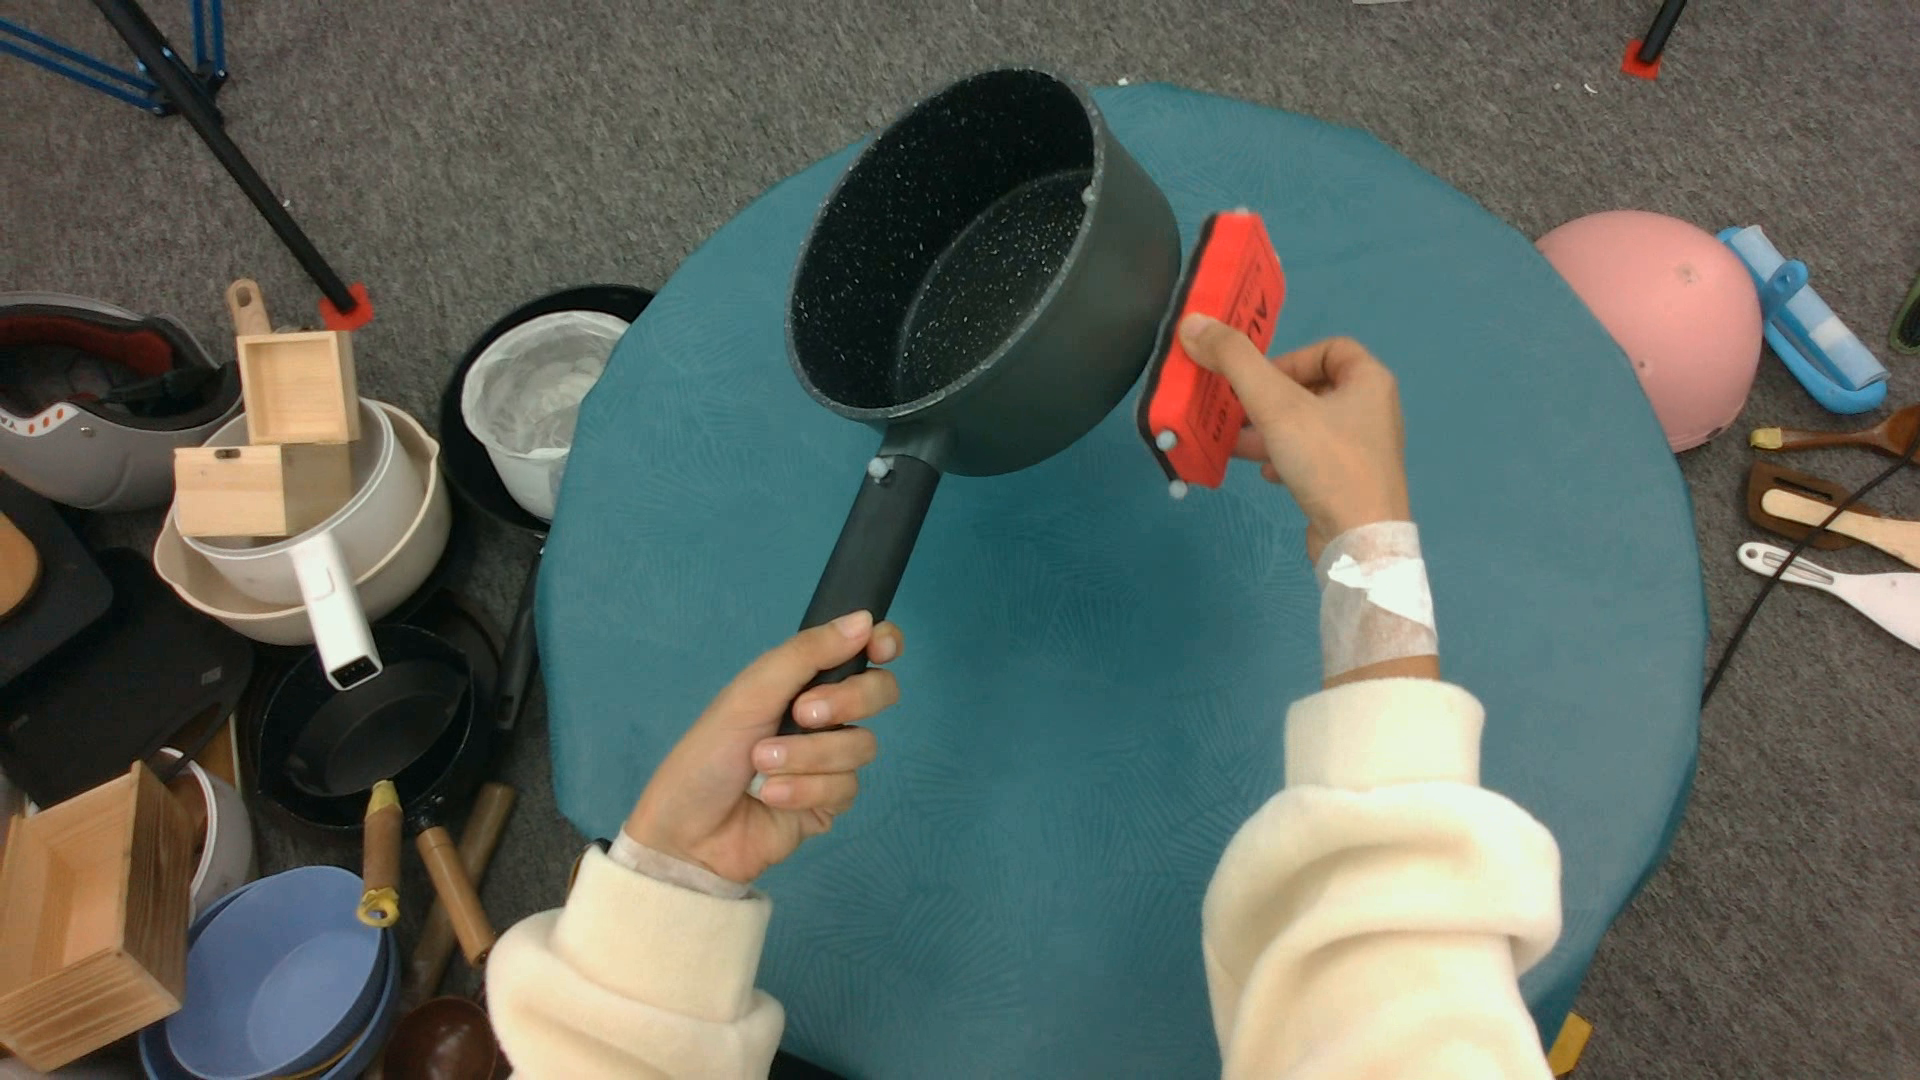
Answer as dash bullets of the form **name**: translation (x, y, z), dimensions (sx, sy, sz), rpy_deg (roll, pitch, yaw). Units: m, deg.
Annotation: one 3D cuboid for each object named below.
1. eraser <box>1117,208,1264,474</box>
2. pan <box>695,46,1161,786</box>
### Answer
- **eraser**: translation (0.101, -0.086, 0.591), dimensions (0.023, 0.059, 0.108), rpy_deg (10, 66, 31)
- **pan**: translation (-0.020, -0.049, 0.581), dimensions (0.171, 0.086, 0.329), rpy_deg (1, 67, 41)
